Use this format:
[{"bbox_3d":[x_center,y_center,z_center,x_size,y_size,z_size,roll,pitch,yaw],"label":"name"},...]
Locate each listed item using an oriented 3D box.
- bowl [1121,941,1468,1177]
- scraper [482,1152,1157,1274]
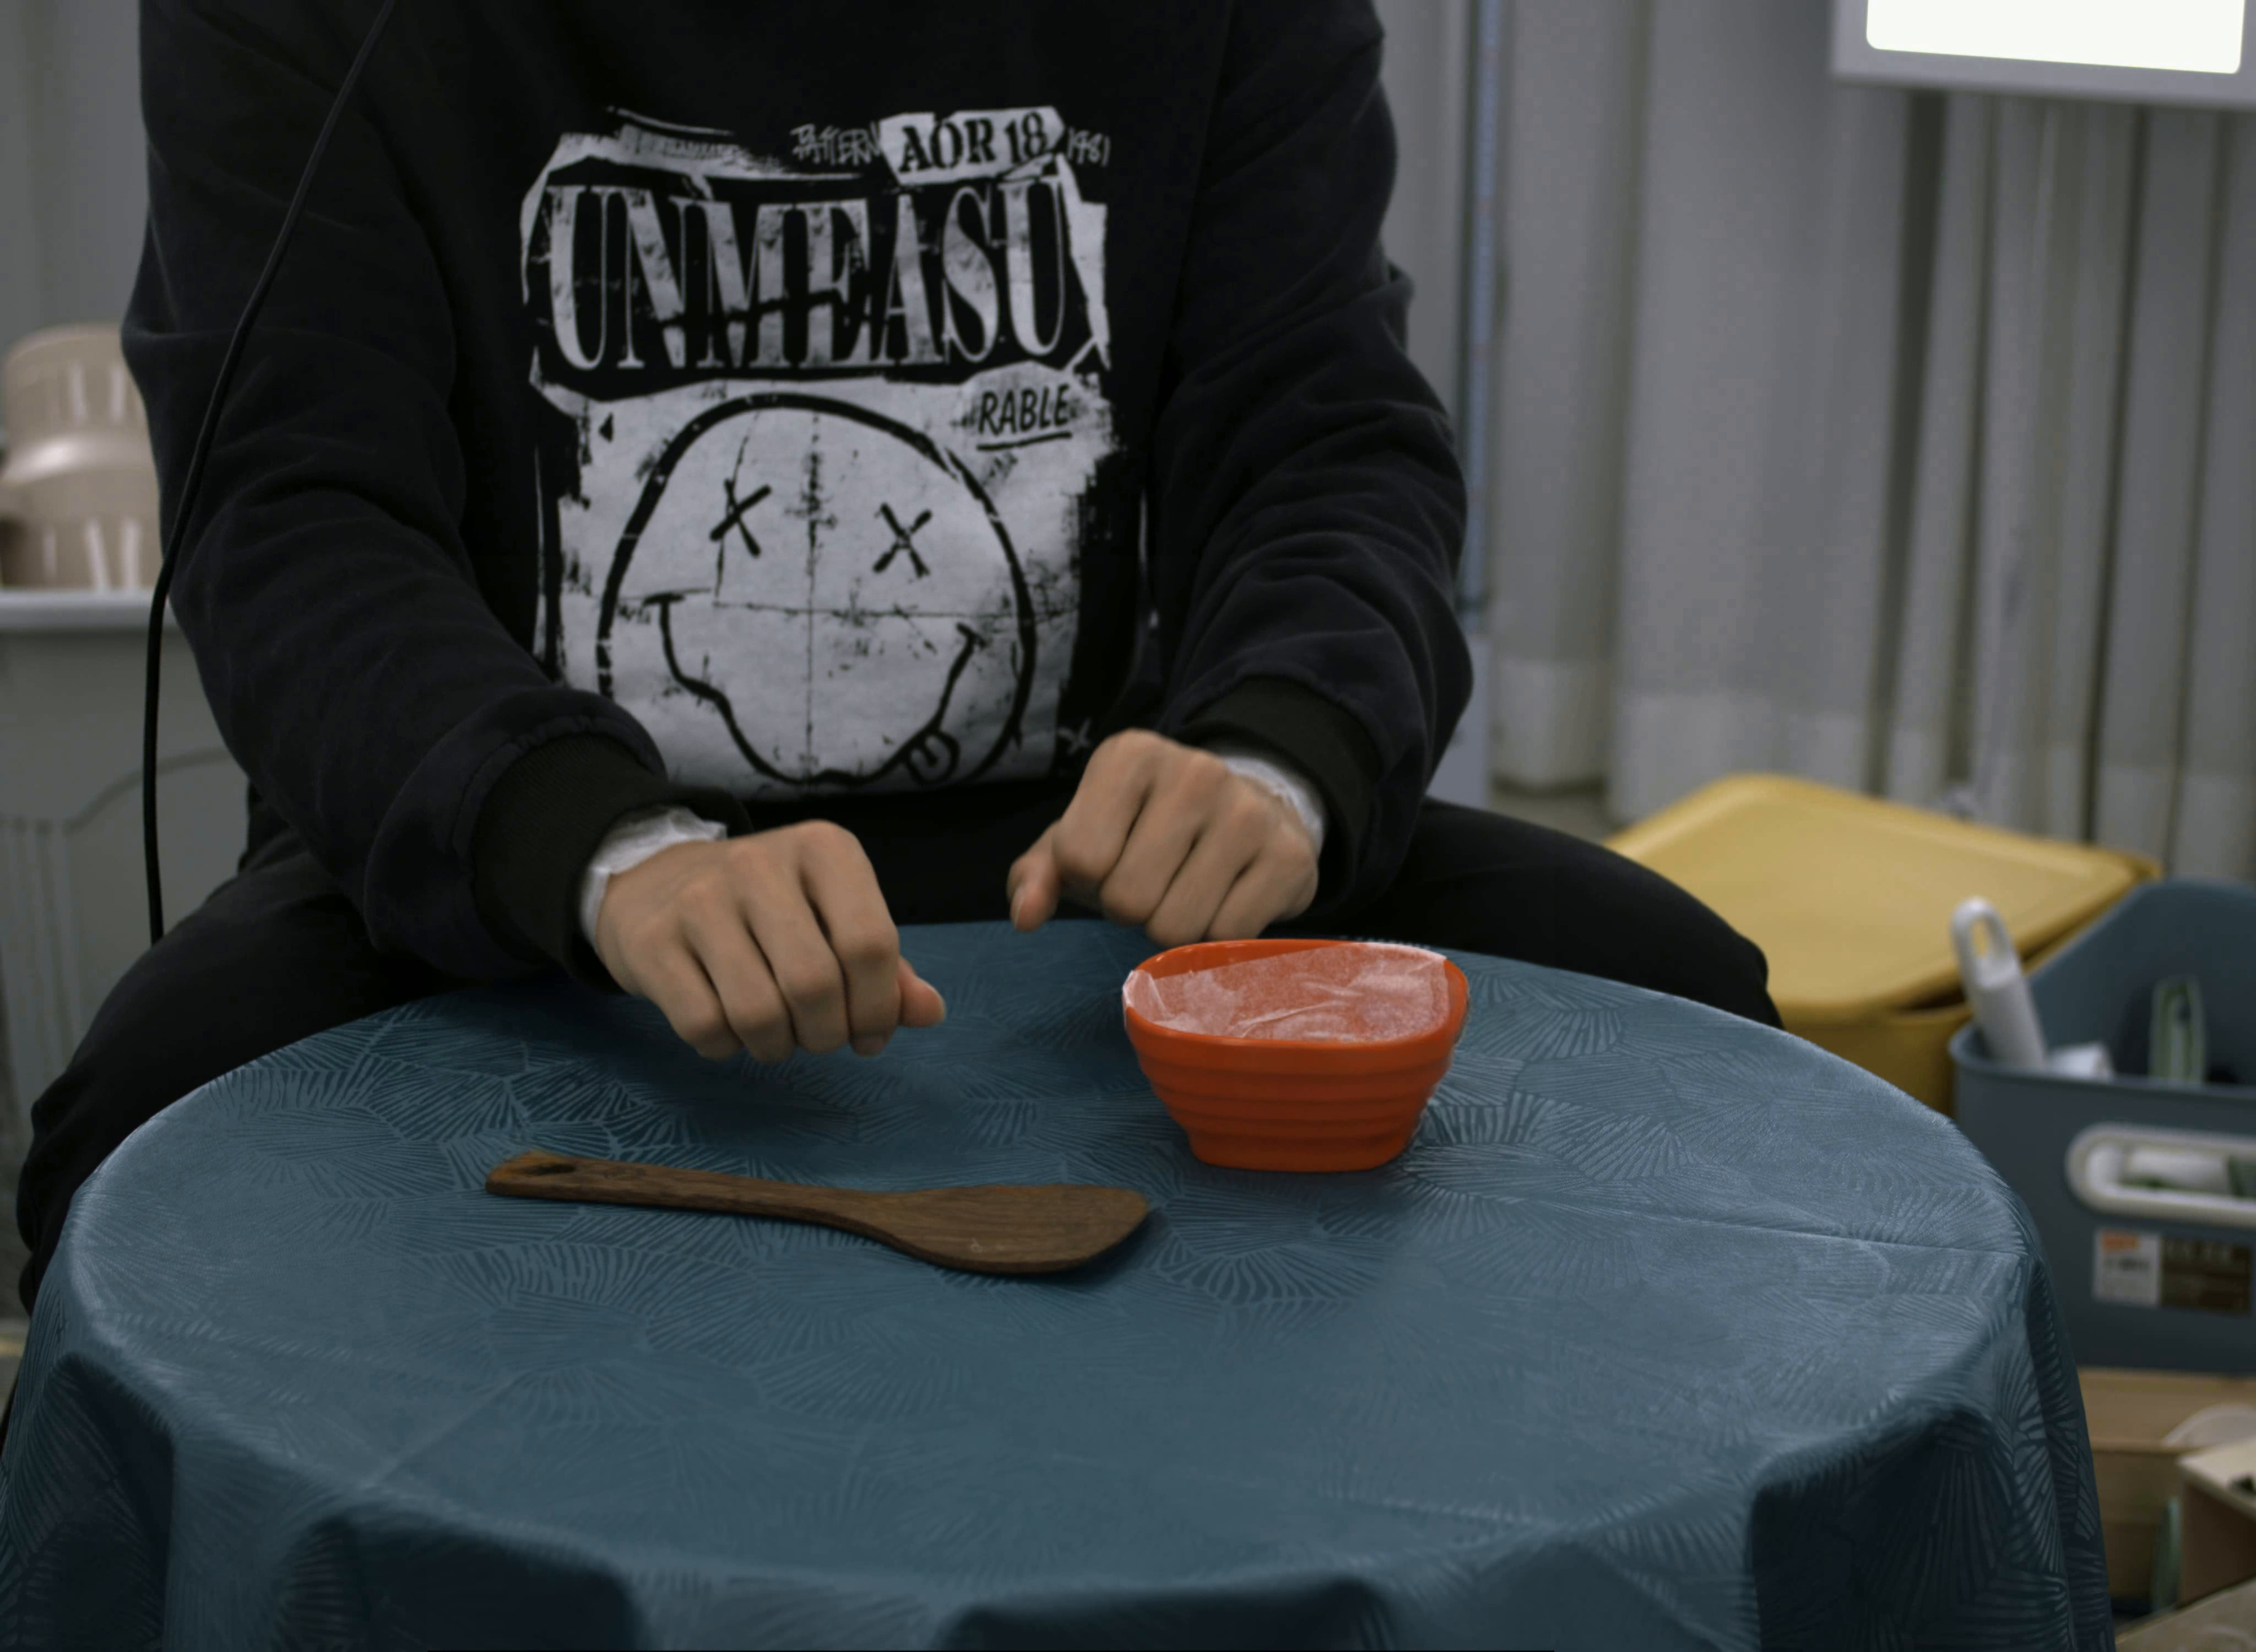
[{"bbox_3d":[0.053,0.076,1.669,0.118,0.052,0.118,0,17,0],"label":"bowl"},{"bbox_3d":[-0.097,0.115,1.601,0.209,0.011,0.076,5,16,16],"label":"scraper"}]
